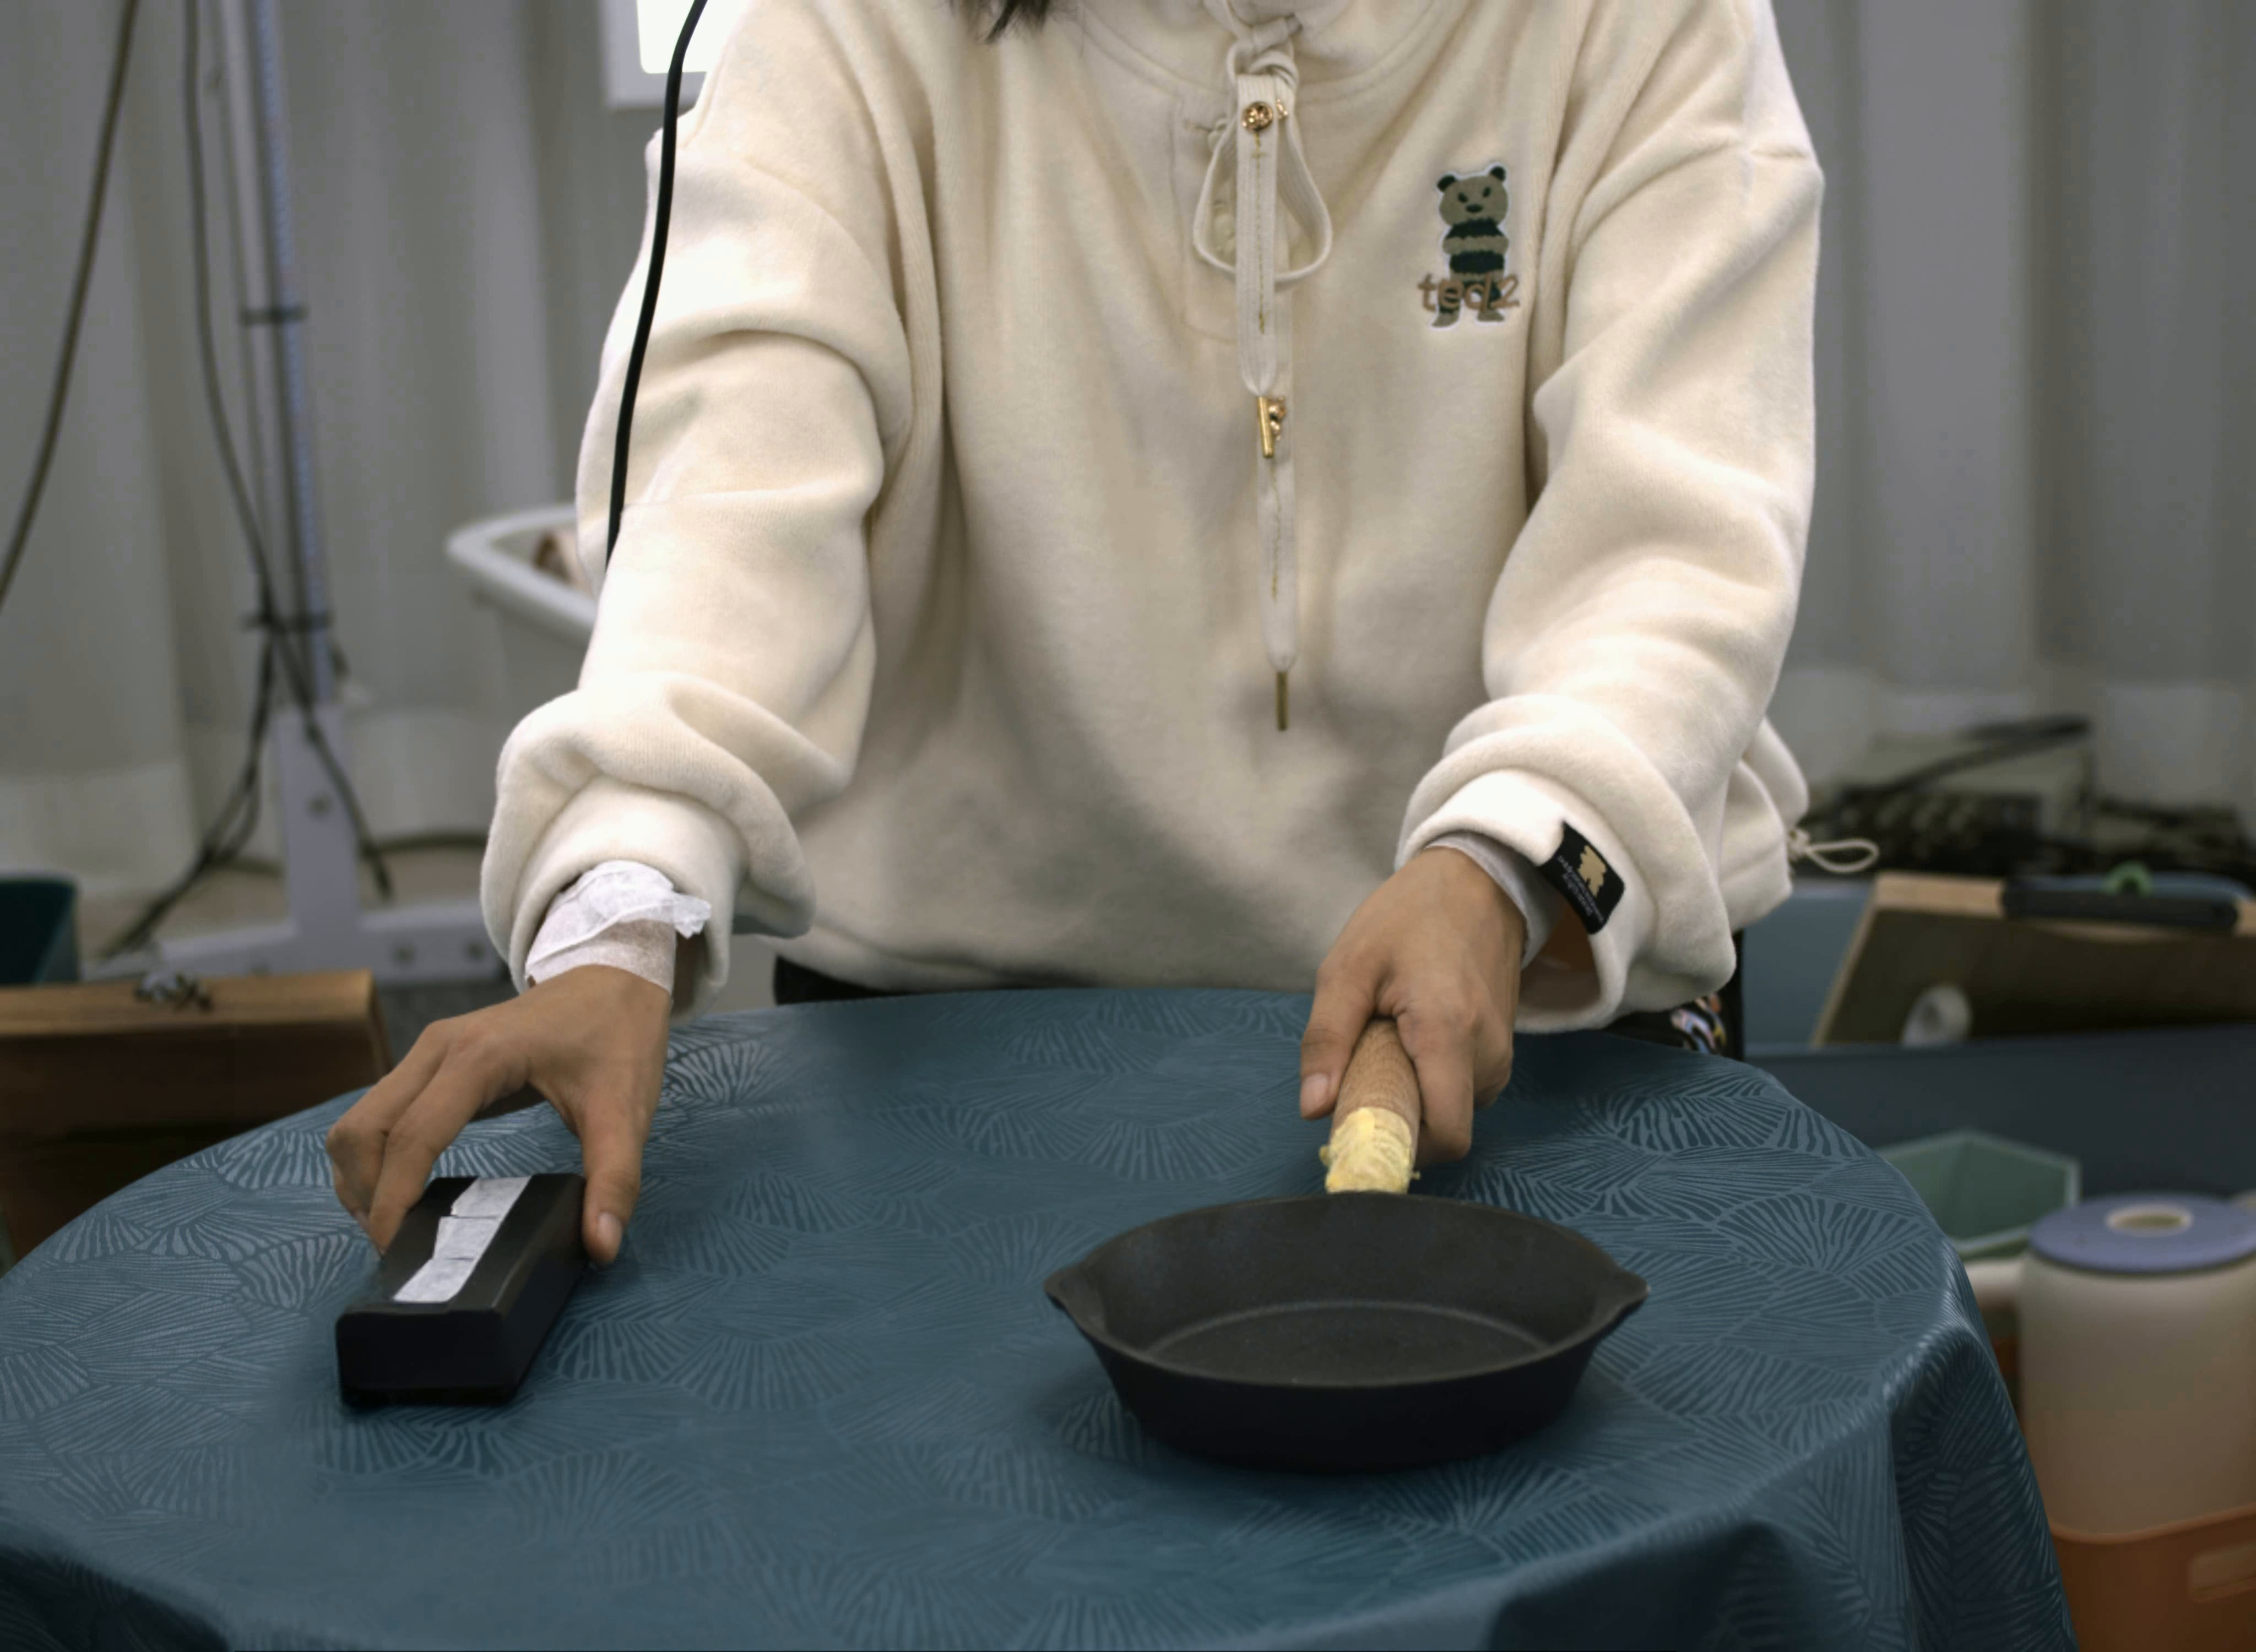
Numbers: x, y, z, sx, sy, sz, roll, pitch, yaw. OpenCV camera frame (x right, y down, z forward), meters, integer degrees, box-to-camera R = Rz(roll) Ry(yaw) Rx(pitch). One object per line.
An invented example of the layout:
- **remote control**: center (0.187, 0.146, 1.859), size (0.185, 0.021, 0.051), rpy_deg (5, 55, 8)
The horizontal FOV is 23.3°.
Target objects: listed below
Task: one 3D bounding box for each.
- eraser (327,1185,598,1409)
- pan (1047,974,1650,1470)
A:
- **eraser**: center (-0.194, 0.138, 1.612), size (0.053, 0.030, 0.126), rpy_deg (-1, 14, 7)
- **pan**: center (0.072, 0.113, 1.604), size (0.168, 0.049, 0.326), rpy_deg (-1, 16, 8)
